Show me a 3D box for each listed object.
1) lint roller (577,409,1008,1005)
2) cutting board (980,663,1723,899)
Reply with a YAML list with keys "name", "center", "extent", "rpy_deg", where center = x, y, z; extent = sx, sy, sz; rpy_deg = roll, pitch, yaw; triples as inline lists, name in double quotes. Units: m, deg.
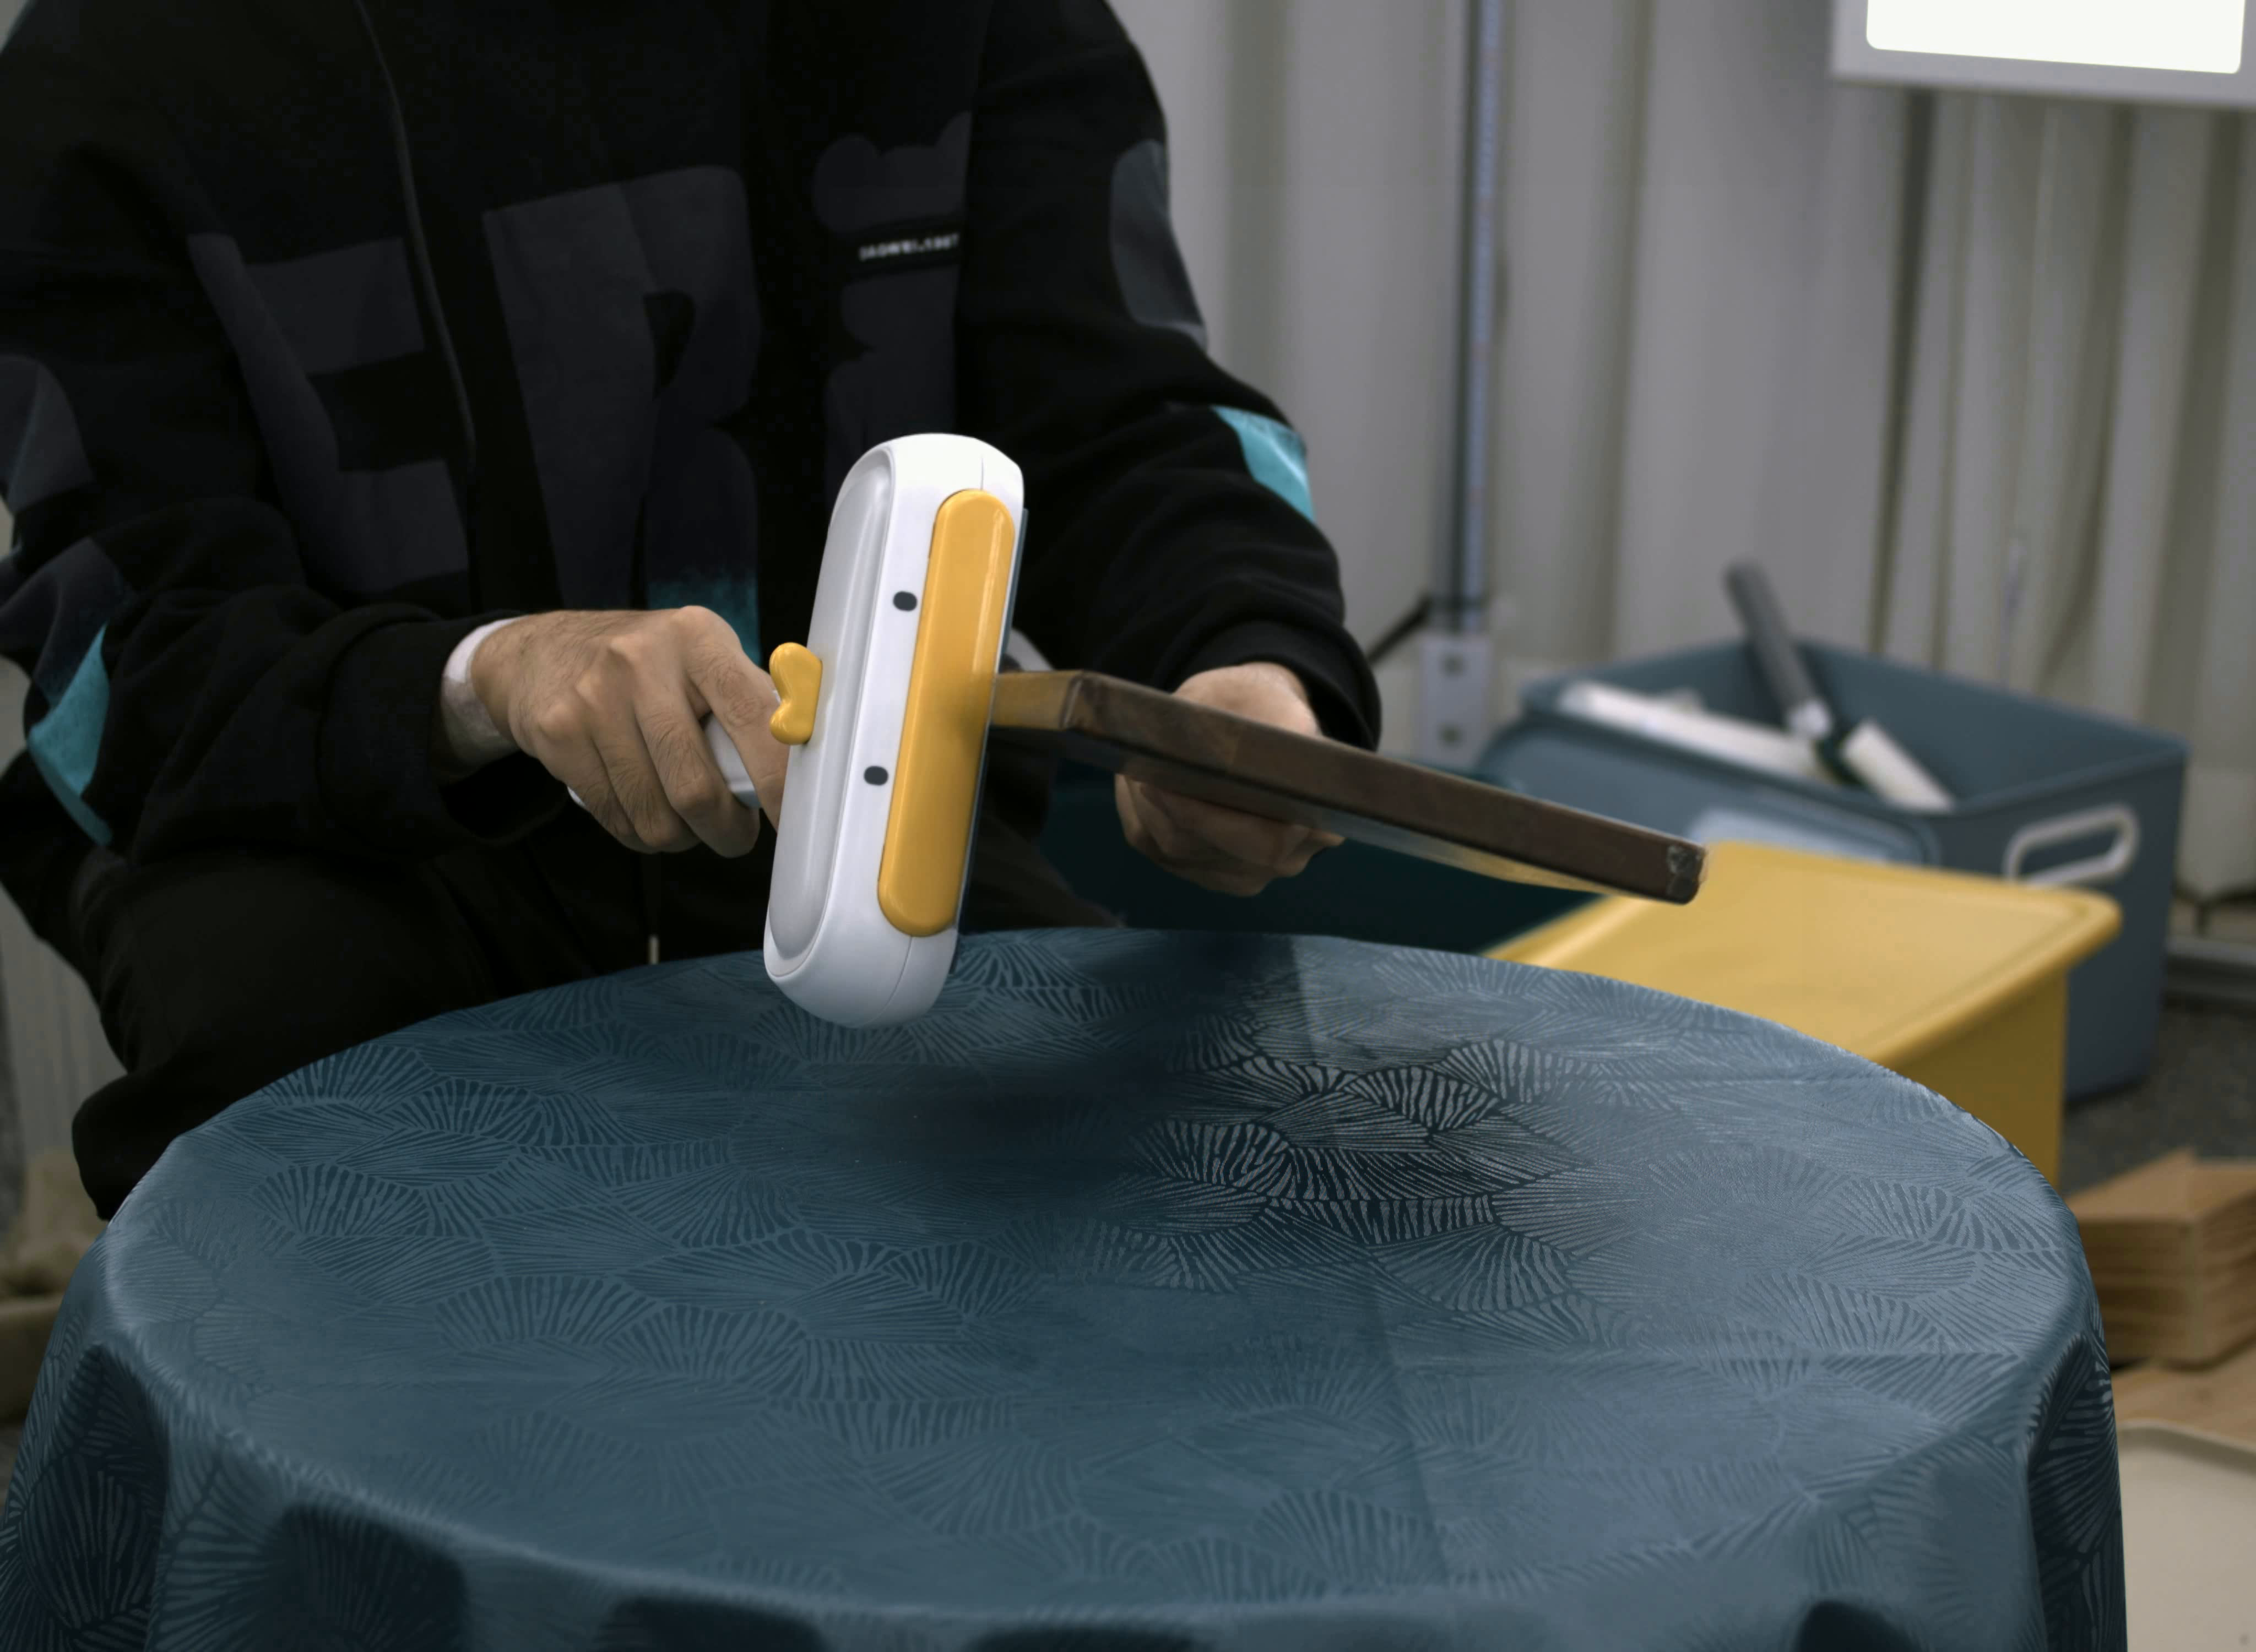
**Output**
- name: "lint roller"
  center: [-0.111, -0.027, 1.707]
  extent: [0.075, 0.192, 0.191]
  rpy_deg: [11, -18, -31]
- name: "cutting board"
  center: [0.050, -0.015, 1.683]
  extent: [0.201, 0.023, 0.351]
  rpy_deg: [15, -2, -10]
